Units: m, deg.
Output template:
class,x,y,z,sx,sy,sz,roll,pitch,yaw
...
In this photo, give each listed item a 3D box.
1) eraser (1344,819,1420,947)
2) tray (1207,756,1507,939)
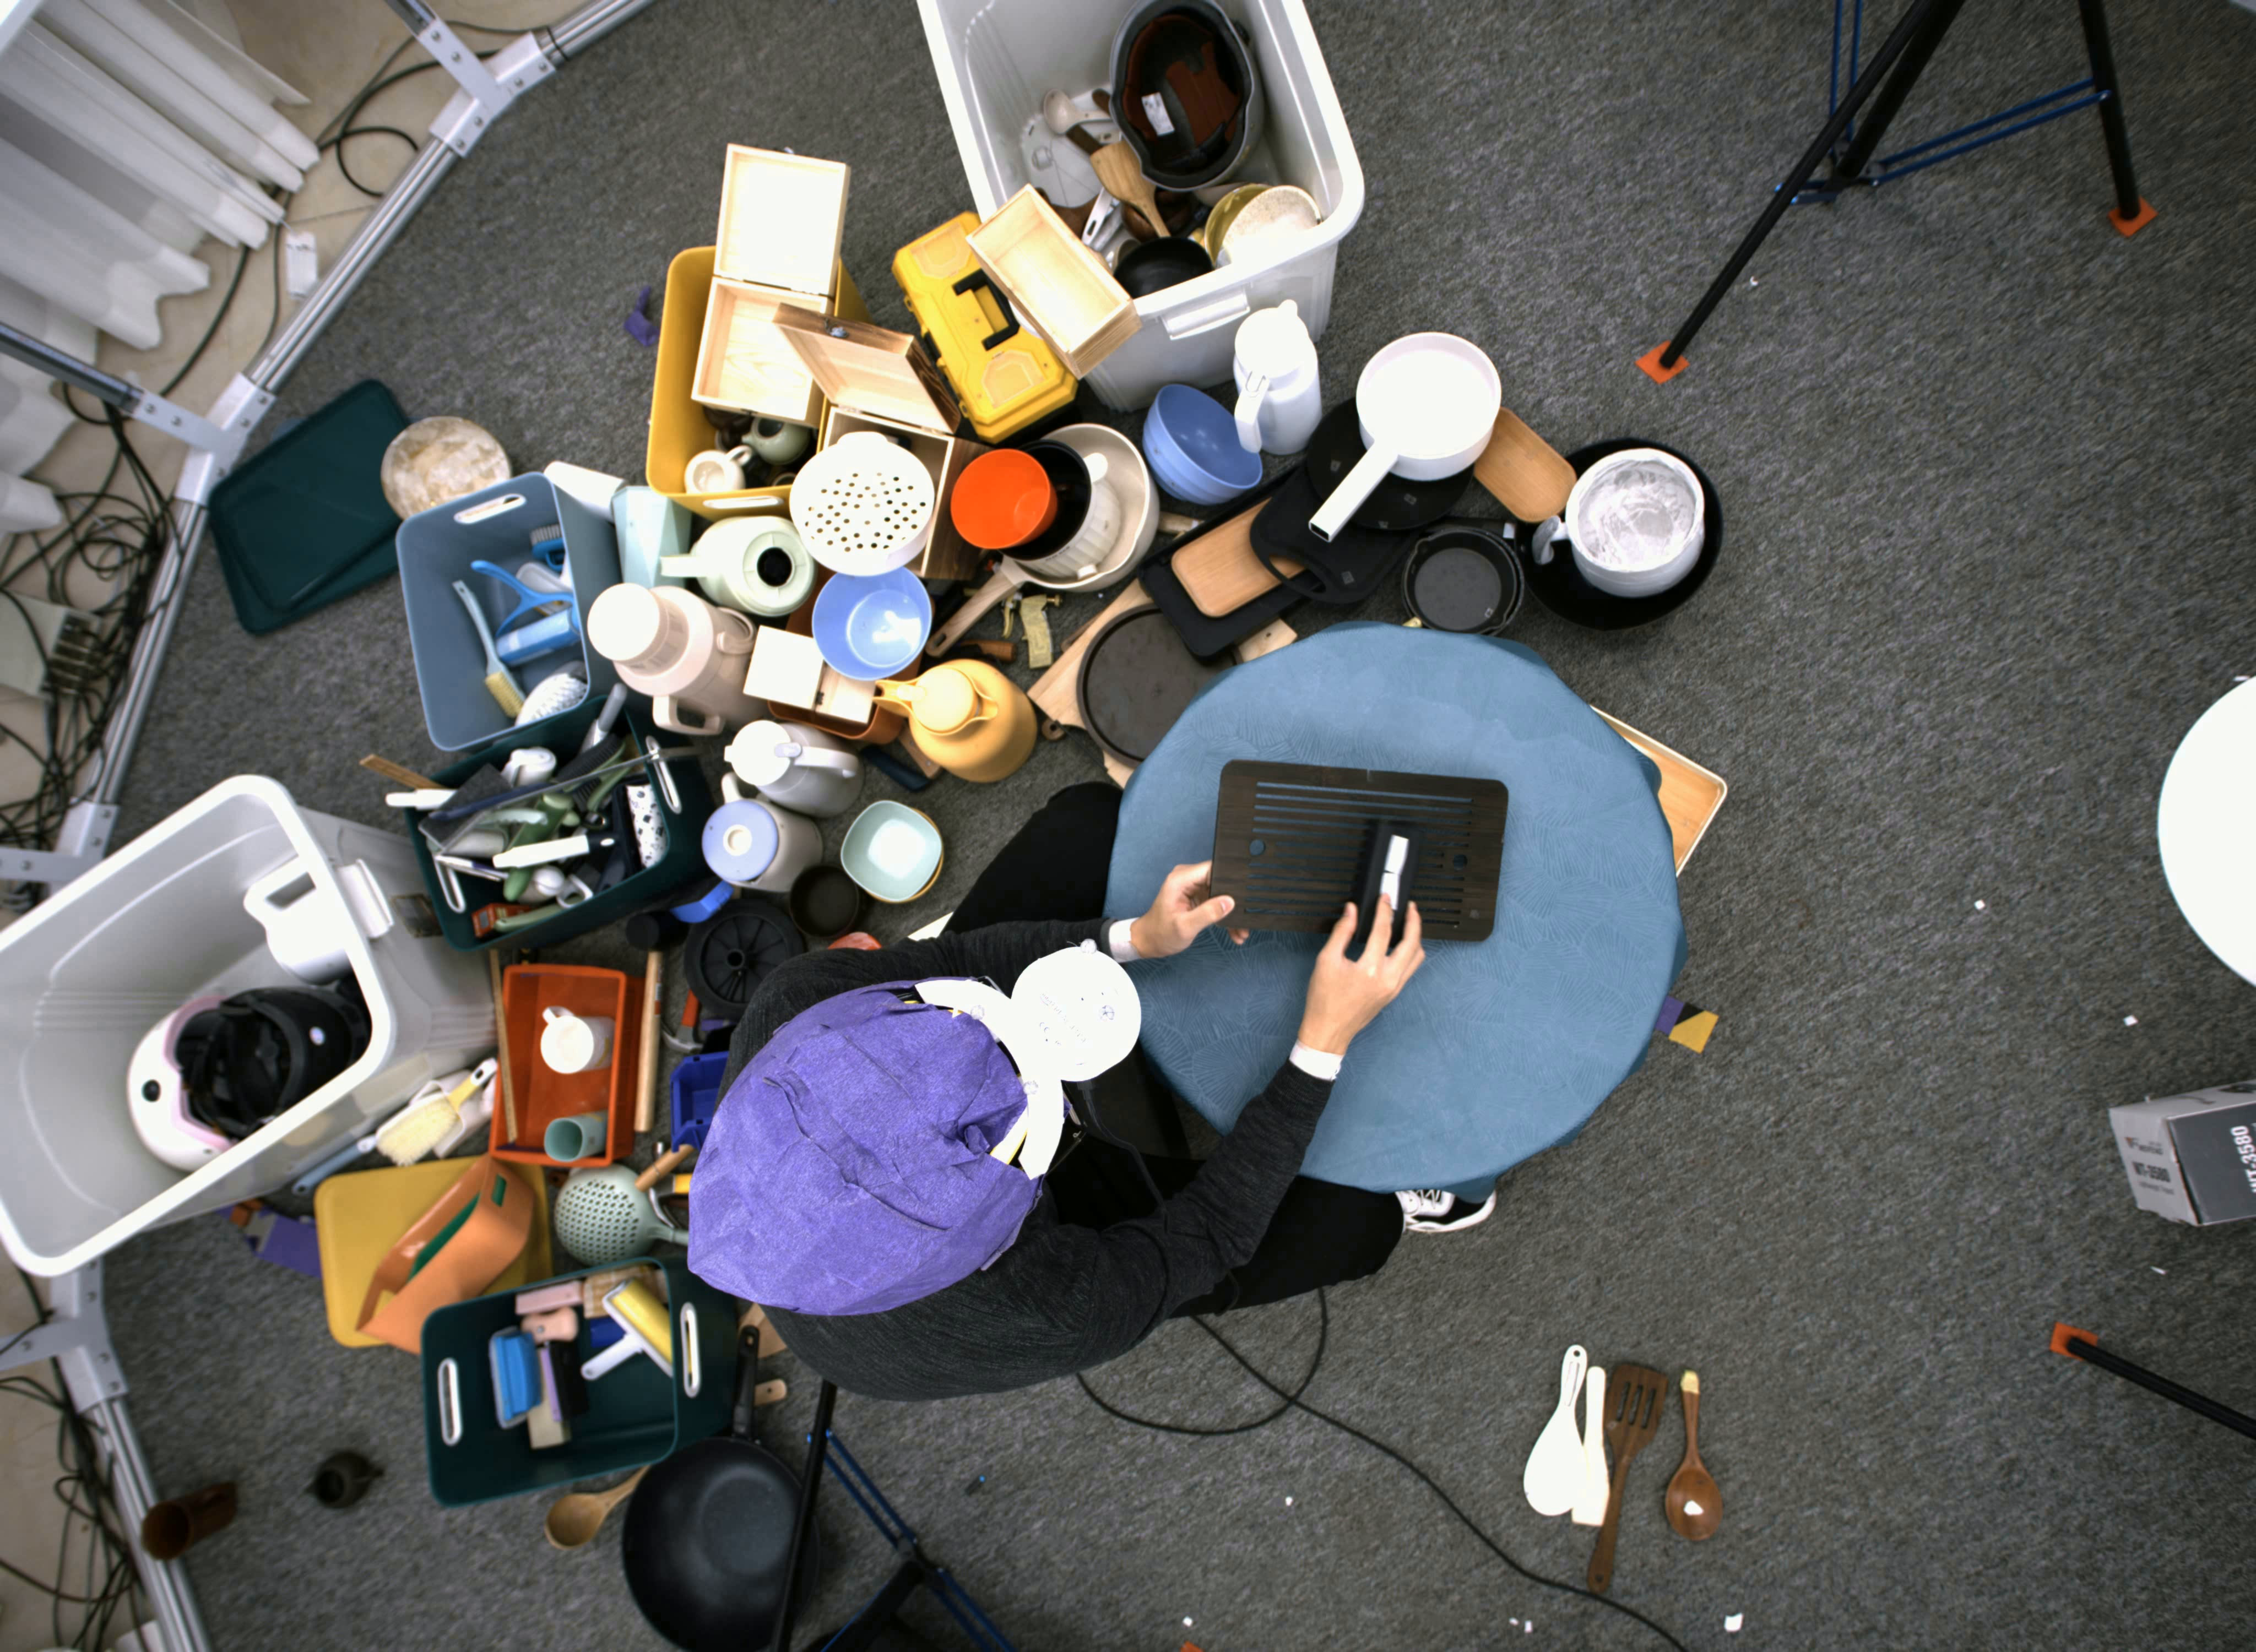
class,x,y,z,sx,sy,sz,roll,pitch,yaw
eraser,0.254,0.055,1.385,0.053,0.030,0.126,8,100,-8
tray,0.233,0.022,1.398,0.306,0.018,0.171,3,98,-10
